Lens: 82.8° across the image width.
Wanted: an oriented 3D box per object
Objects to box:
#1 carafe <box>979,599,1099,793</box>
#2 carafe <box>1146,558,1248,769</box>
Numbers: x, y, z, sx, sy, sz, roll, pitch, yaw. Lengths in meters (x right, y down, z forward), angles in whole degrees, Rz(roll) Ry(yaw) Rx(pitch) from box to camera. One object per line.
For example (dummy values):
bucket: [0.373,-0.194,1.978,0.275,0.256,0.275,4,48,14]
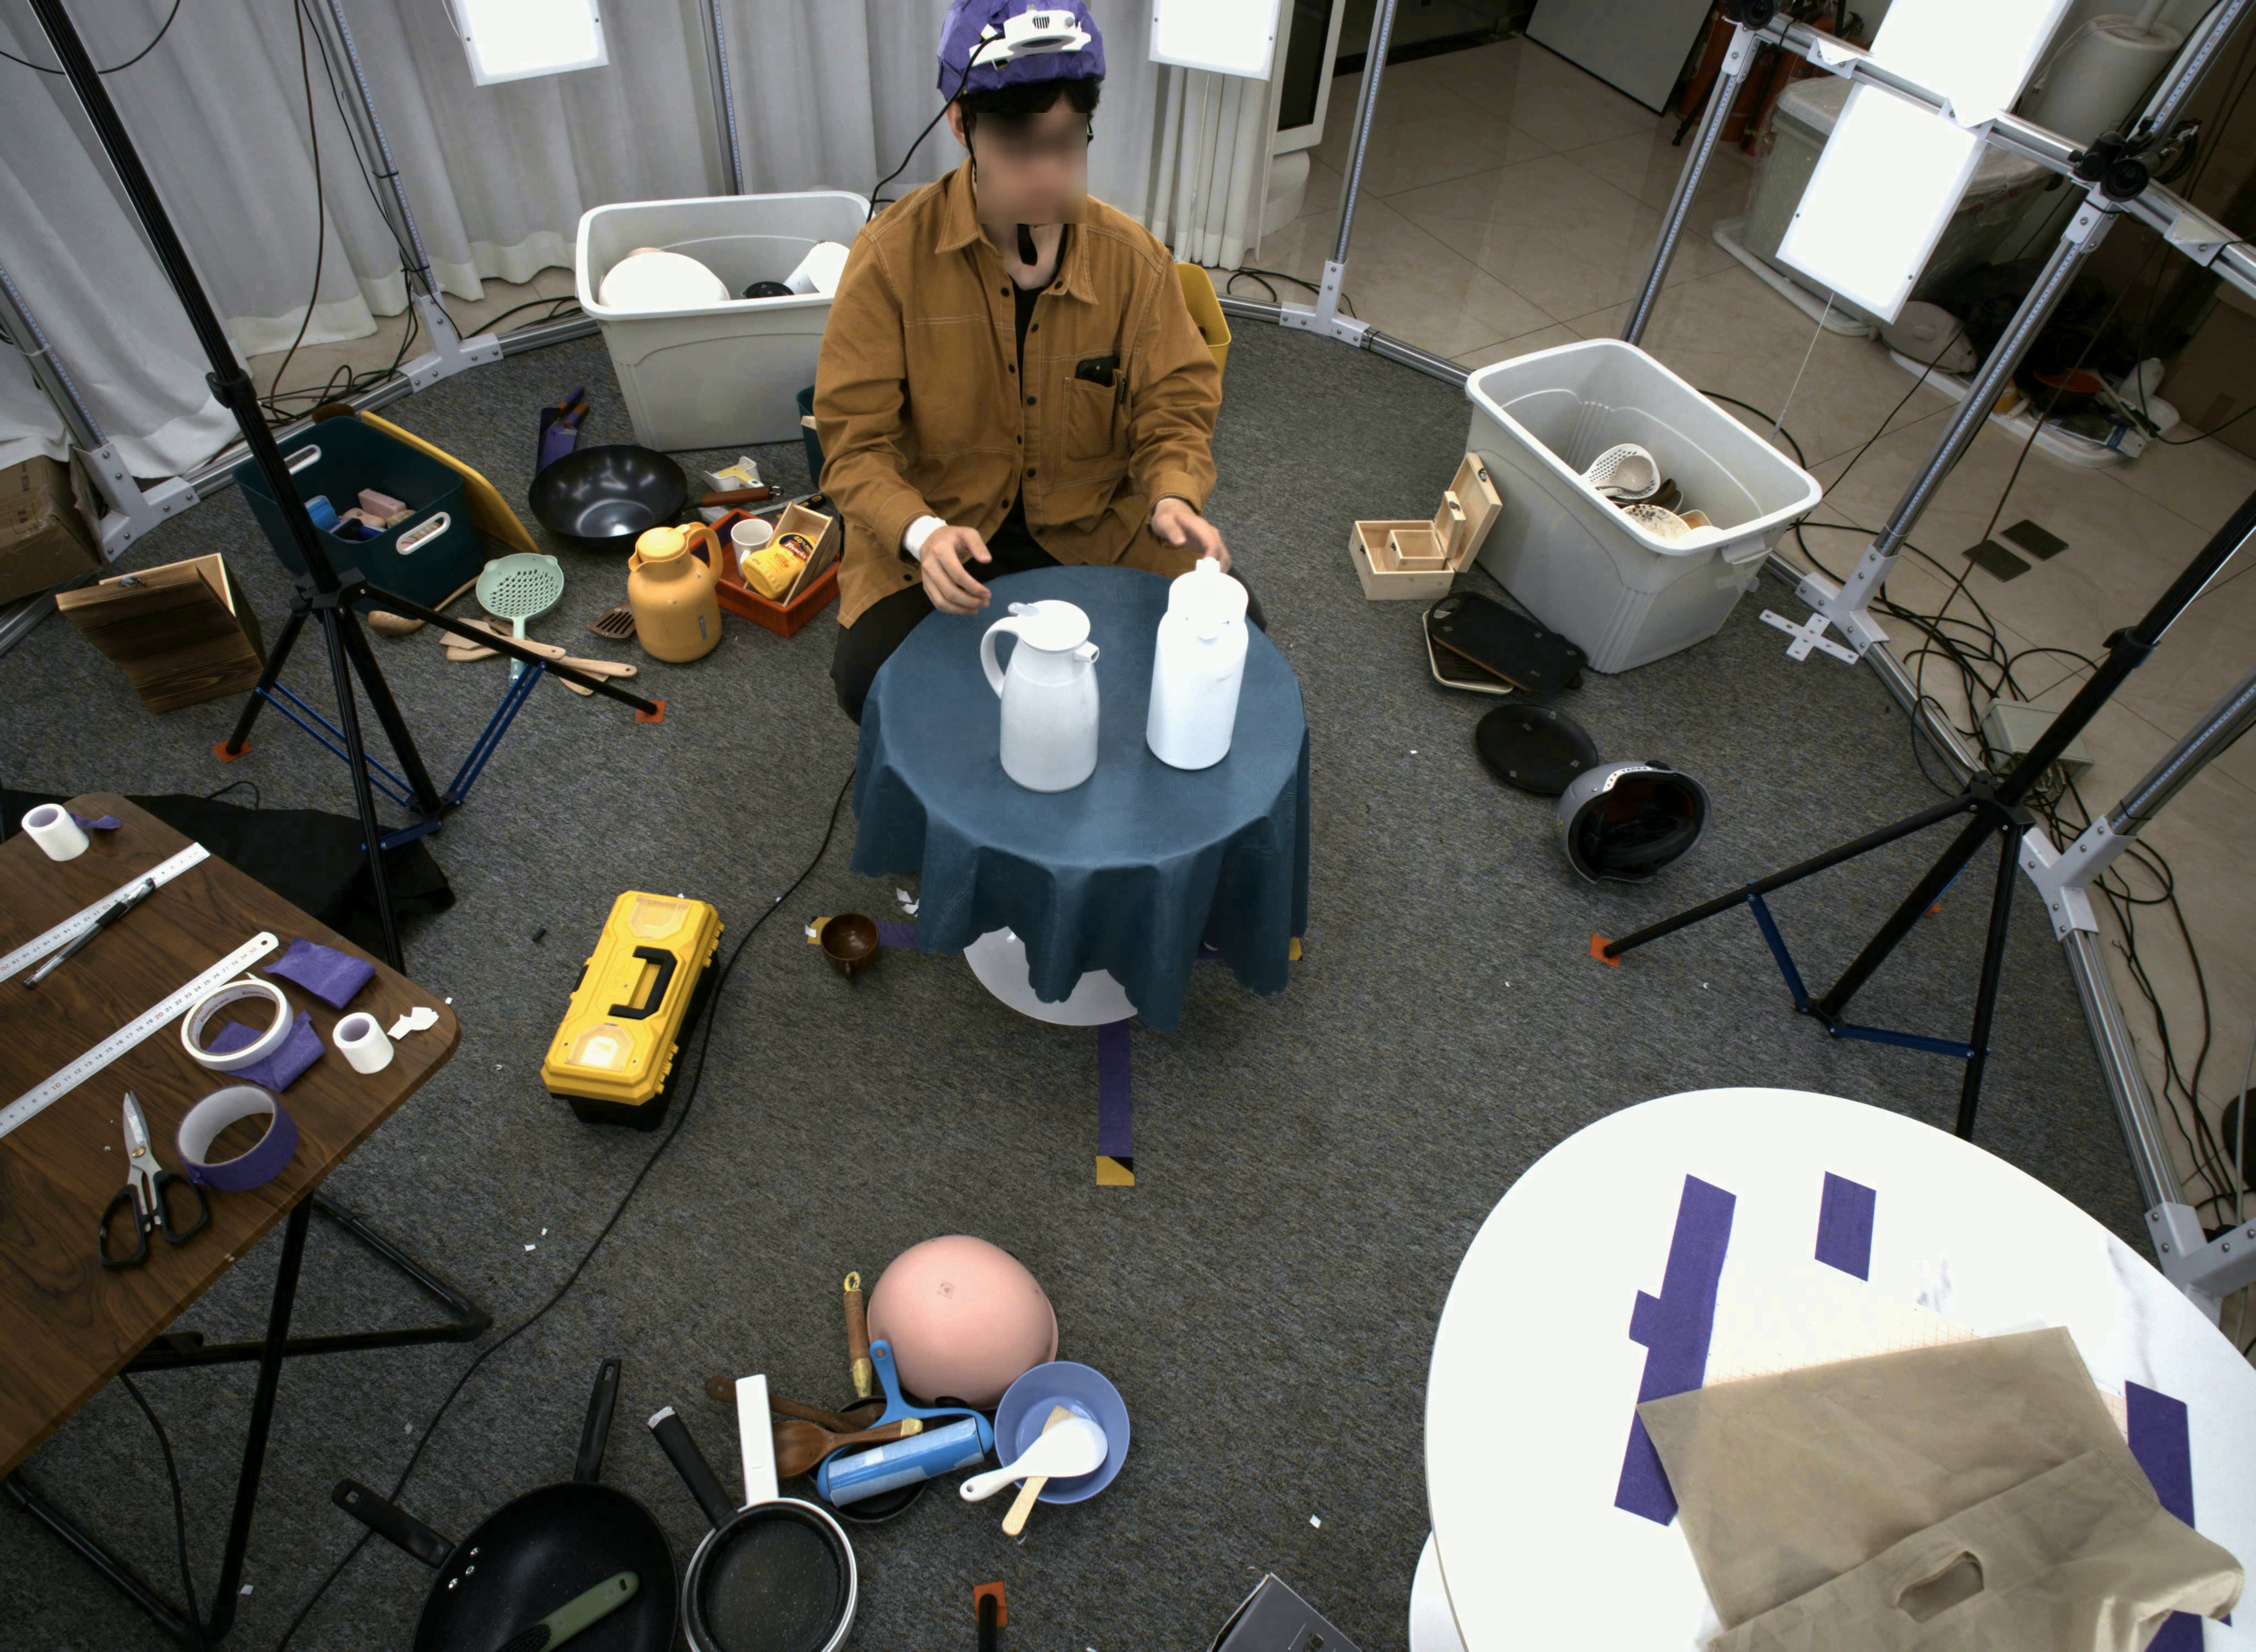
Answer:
carafe: [-0.118,-0.179,1.657,0.169,0.242,0.134,25,52,18]
carafe: [0.090,-0.215,1.689,0.124,0.262,0.177,3,49,1]
